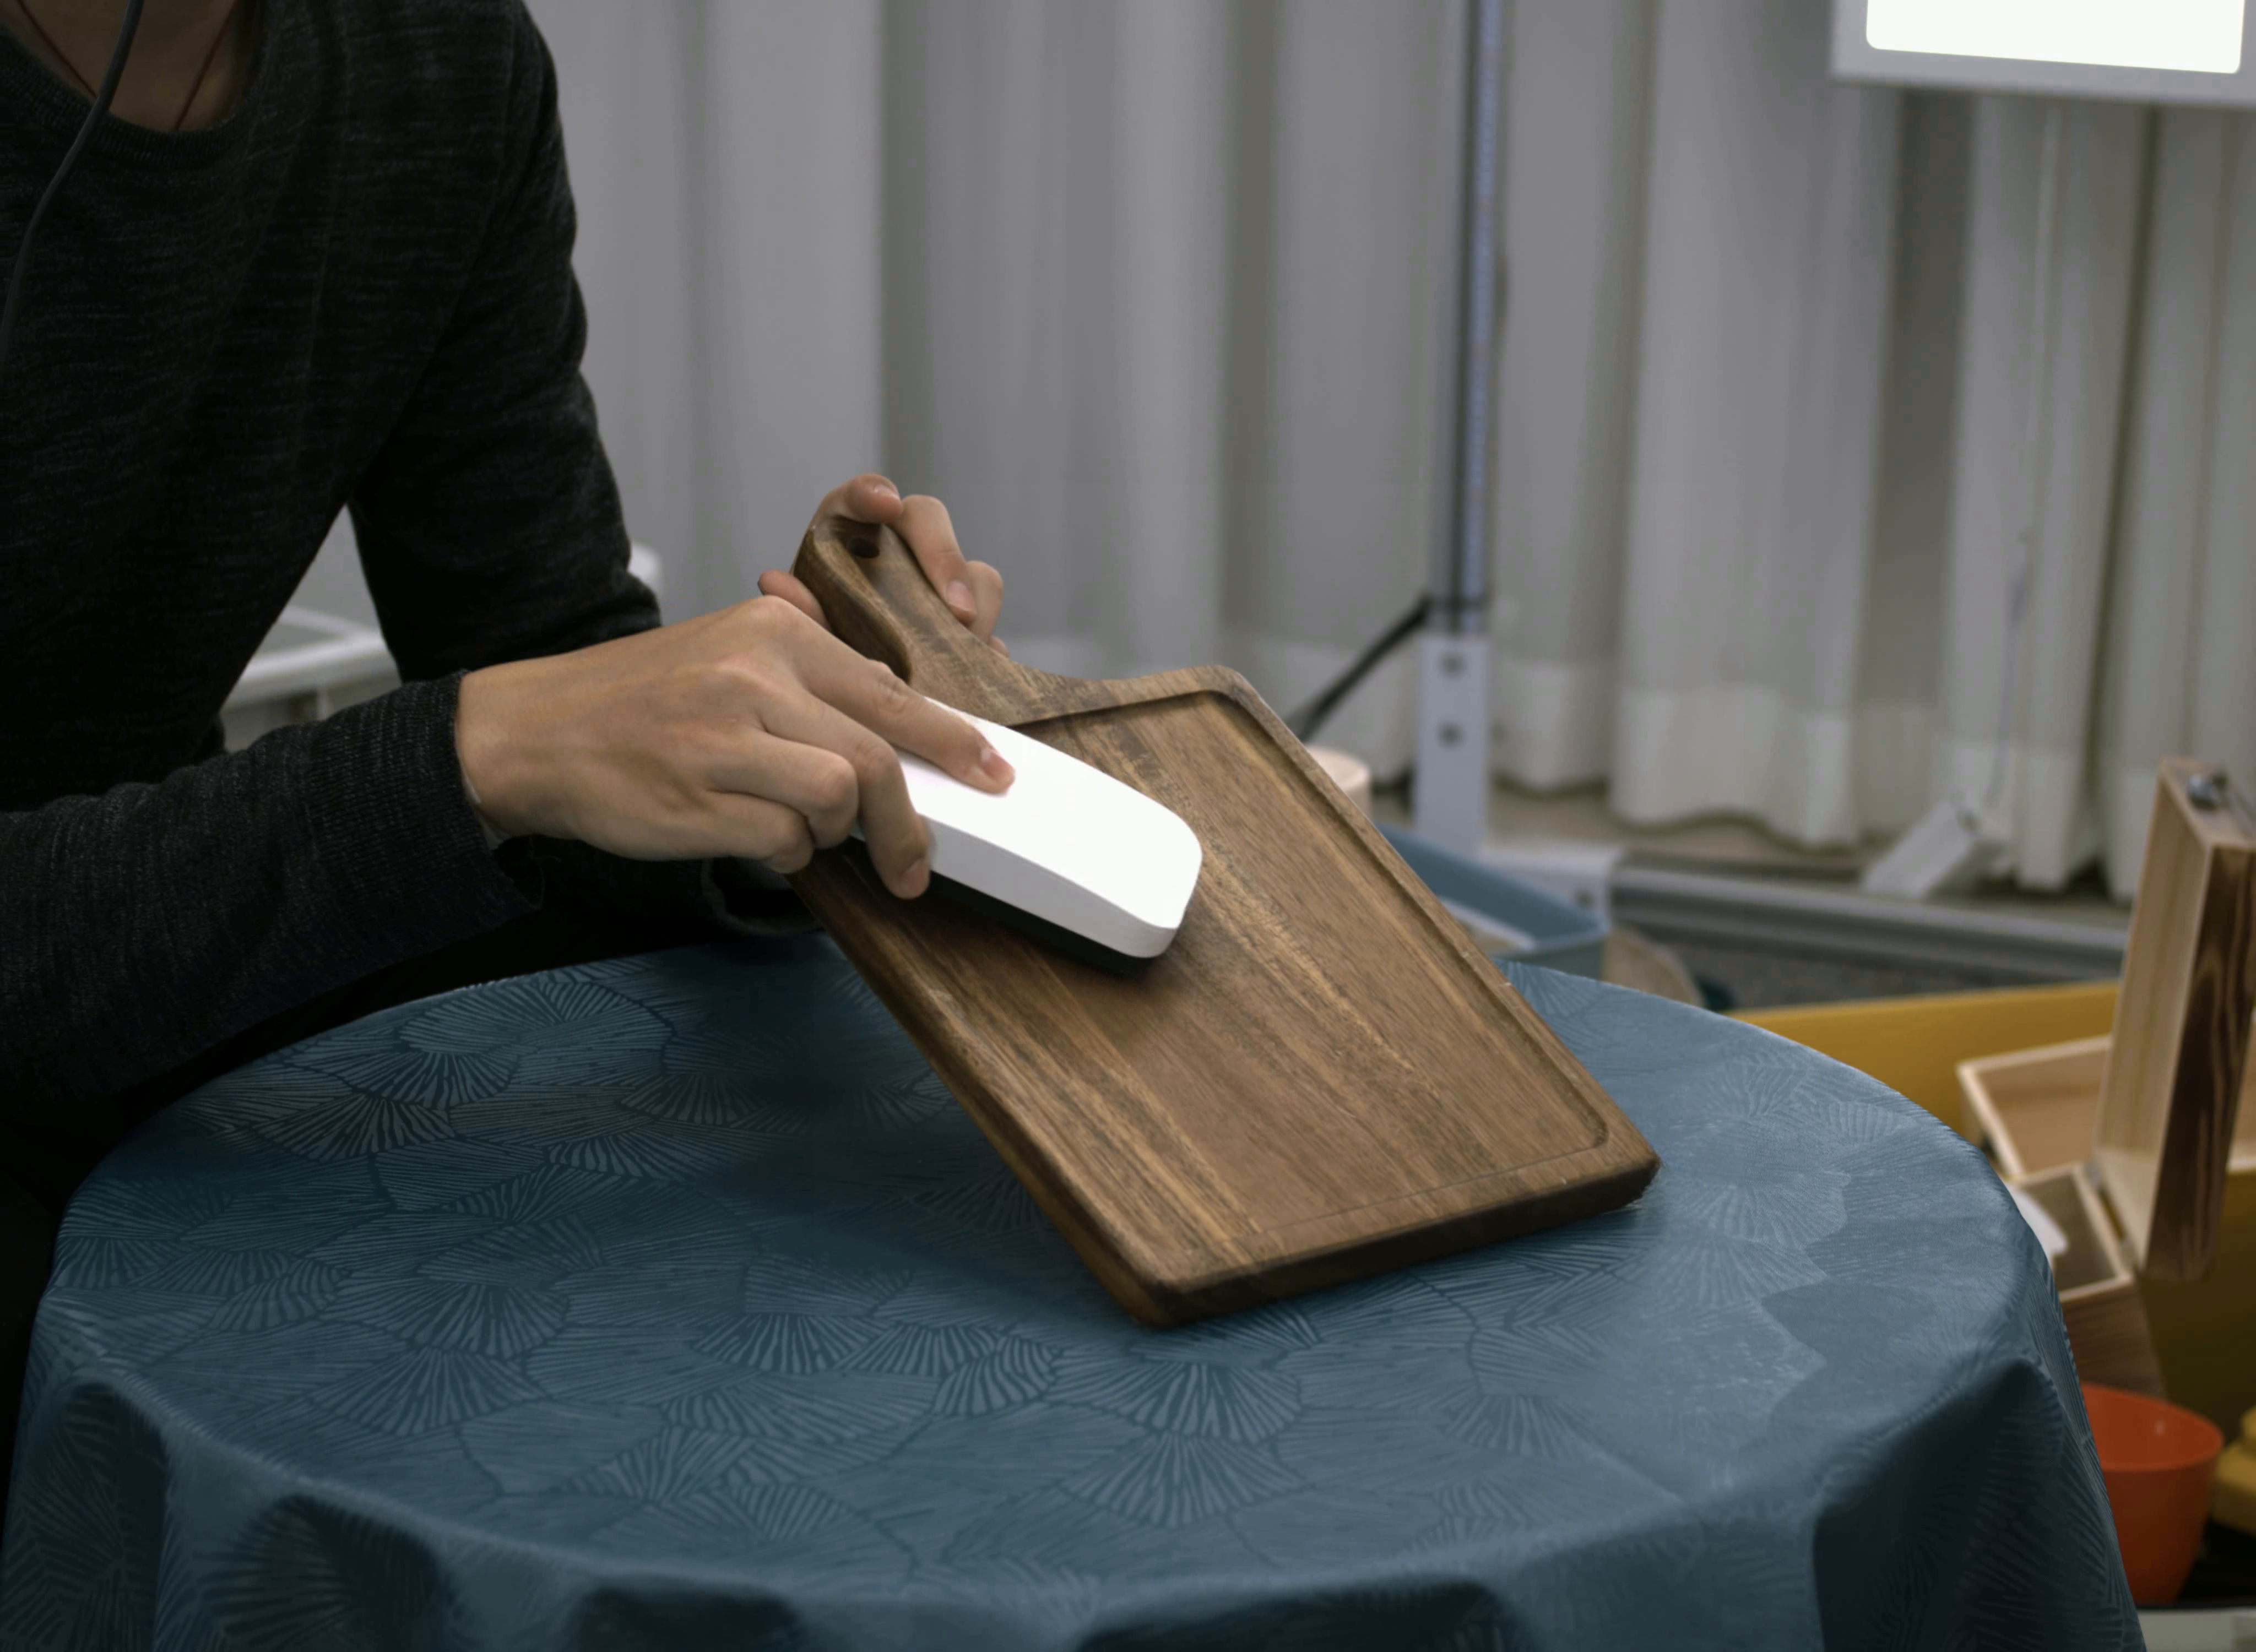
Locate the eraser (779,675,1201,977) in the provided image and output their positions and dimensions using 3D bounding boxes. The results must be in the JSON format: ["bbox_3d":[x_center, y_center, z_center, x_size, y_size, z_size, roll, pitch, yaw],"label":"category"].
[{"bbox_3d":[-0.041,-0.003,1.608,0.131,0.035,0.063,25,35,-7],"label":"eraser"}]

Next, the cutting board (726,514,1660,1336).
[{"bbox_3d":[-0.007,0.014,1.646,0.202,0.023,0.348,-12,47,-36],"label":"cutting board"}]
